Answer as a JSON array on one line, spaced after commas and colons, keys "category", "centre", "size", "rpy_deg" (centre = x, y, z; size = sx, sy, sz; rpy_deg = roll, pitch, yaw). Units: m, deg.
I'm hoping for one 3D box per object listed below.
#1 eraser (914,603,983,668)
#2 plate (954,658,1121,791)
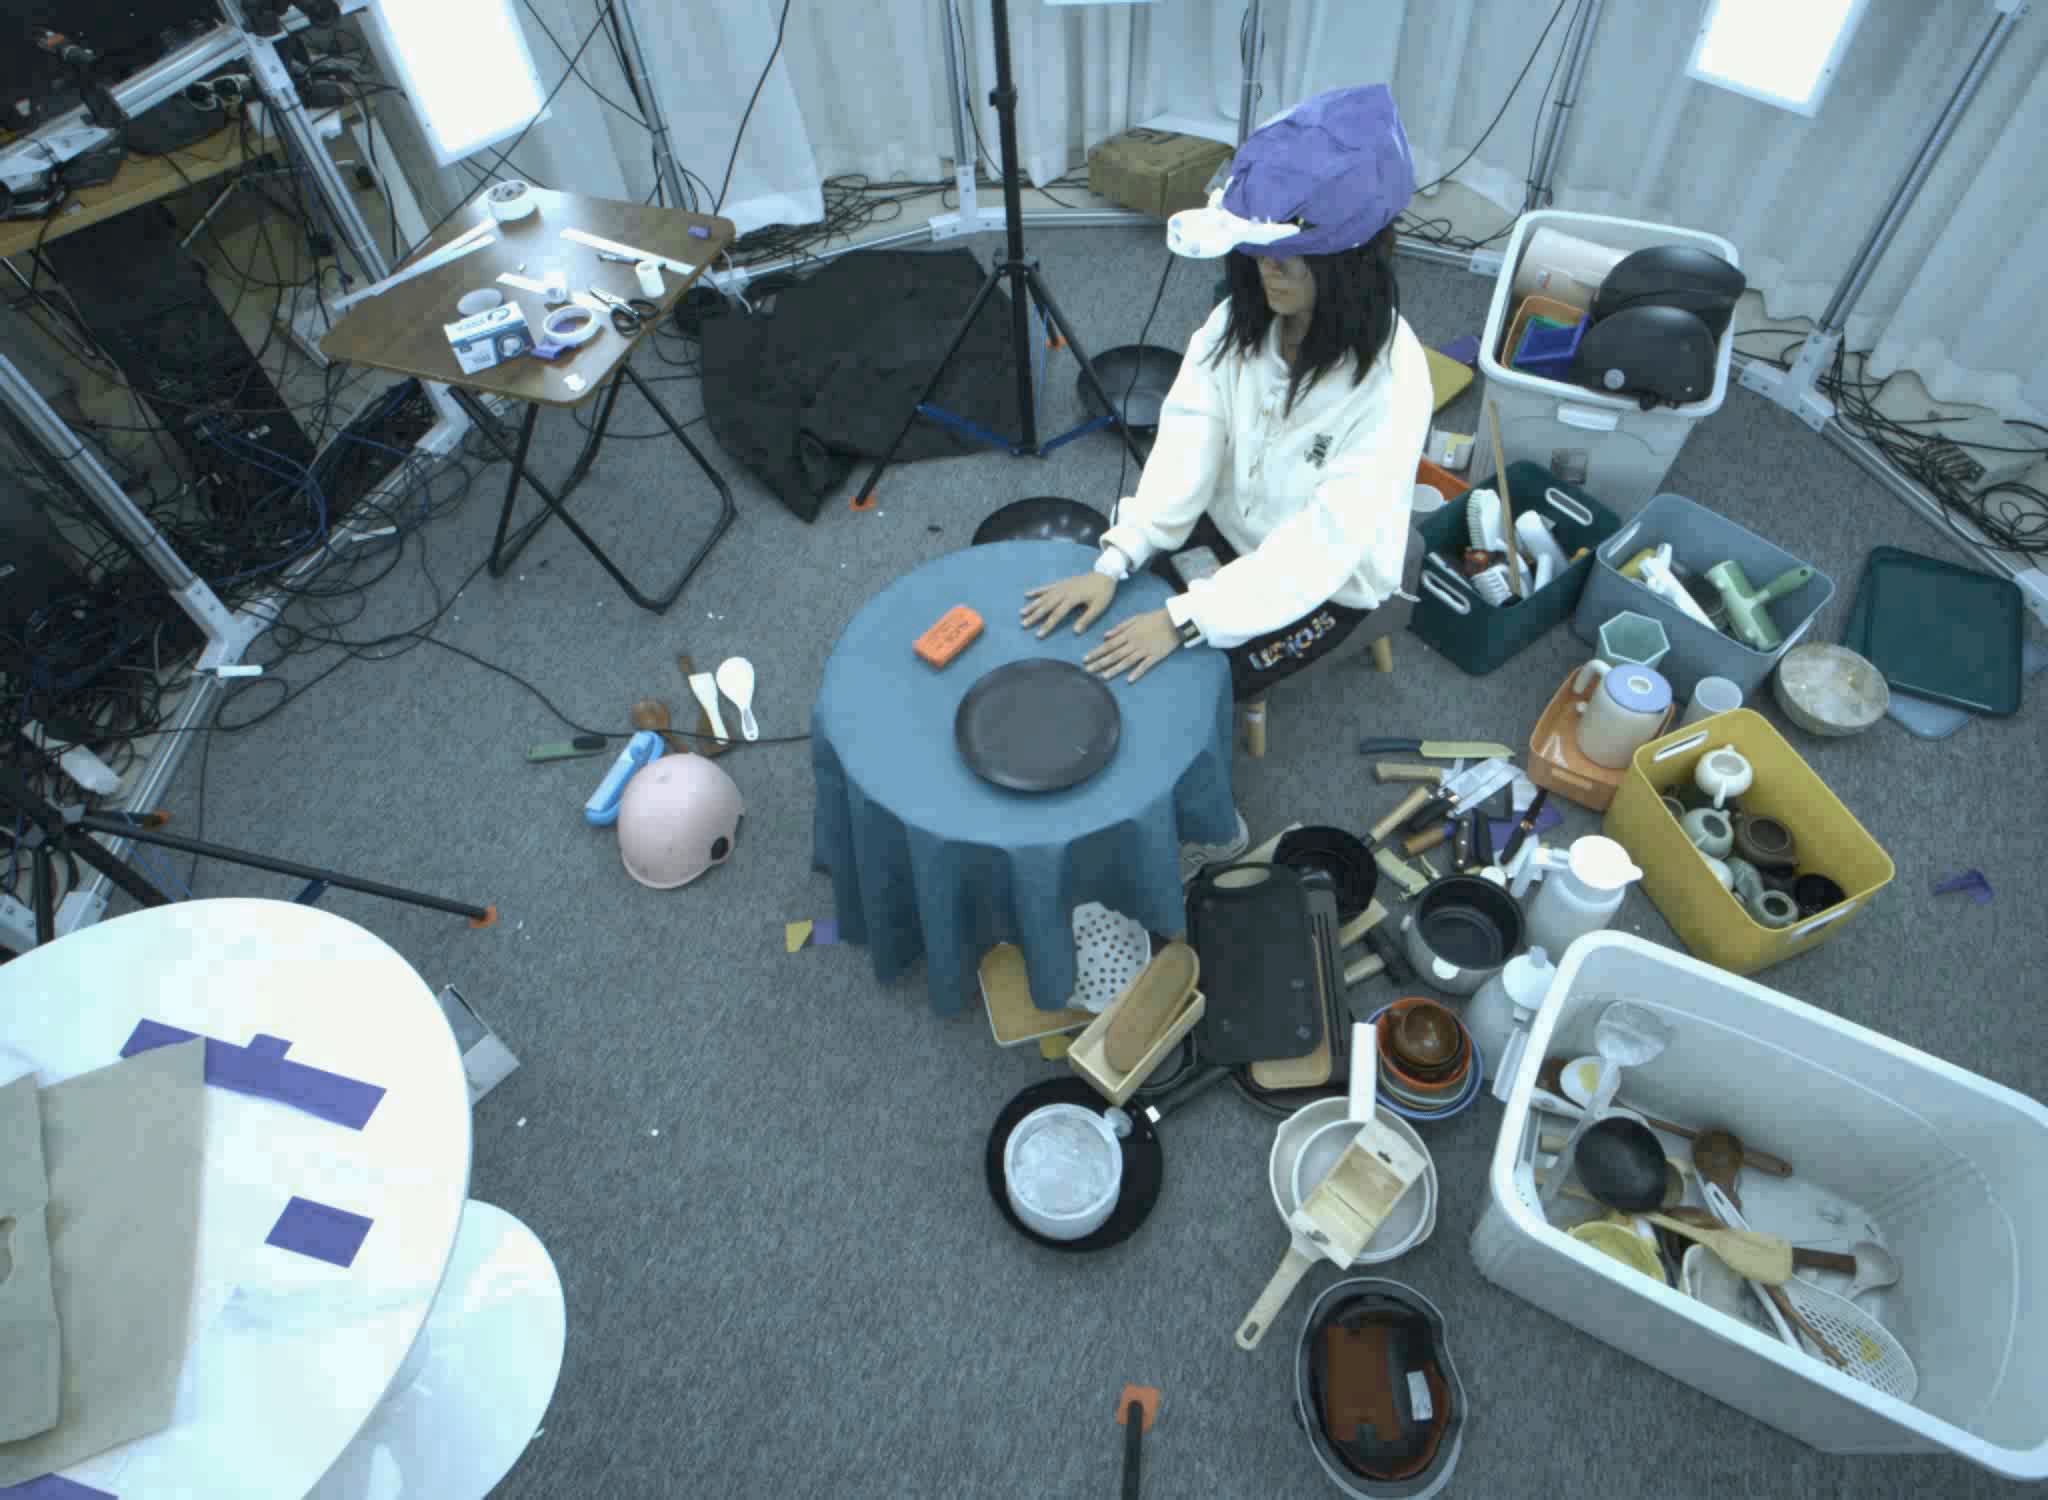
[{"category": "eraser", "centre": [-0.117, -0.178, 1.900], "size": [0.058, 0.023, 0.108], "rpy_deg": [32, 64, 23]}, {"category": "plate", "centre": [0.020, -0.036, 1.798], "size": [0.244, 0.024, 0.242], "rpy_deg": [0, 55, 2]}]
